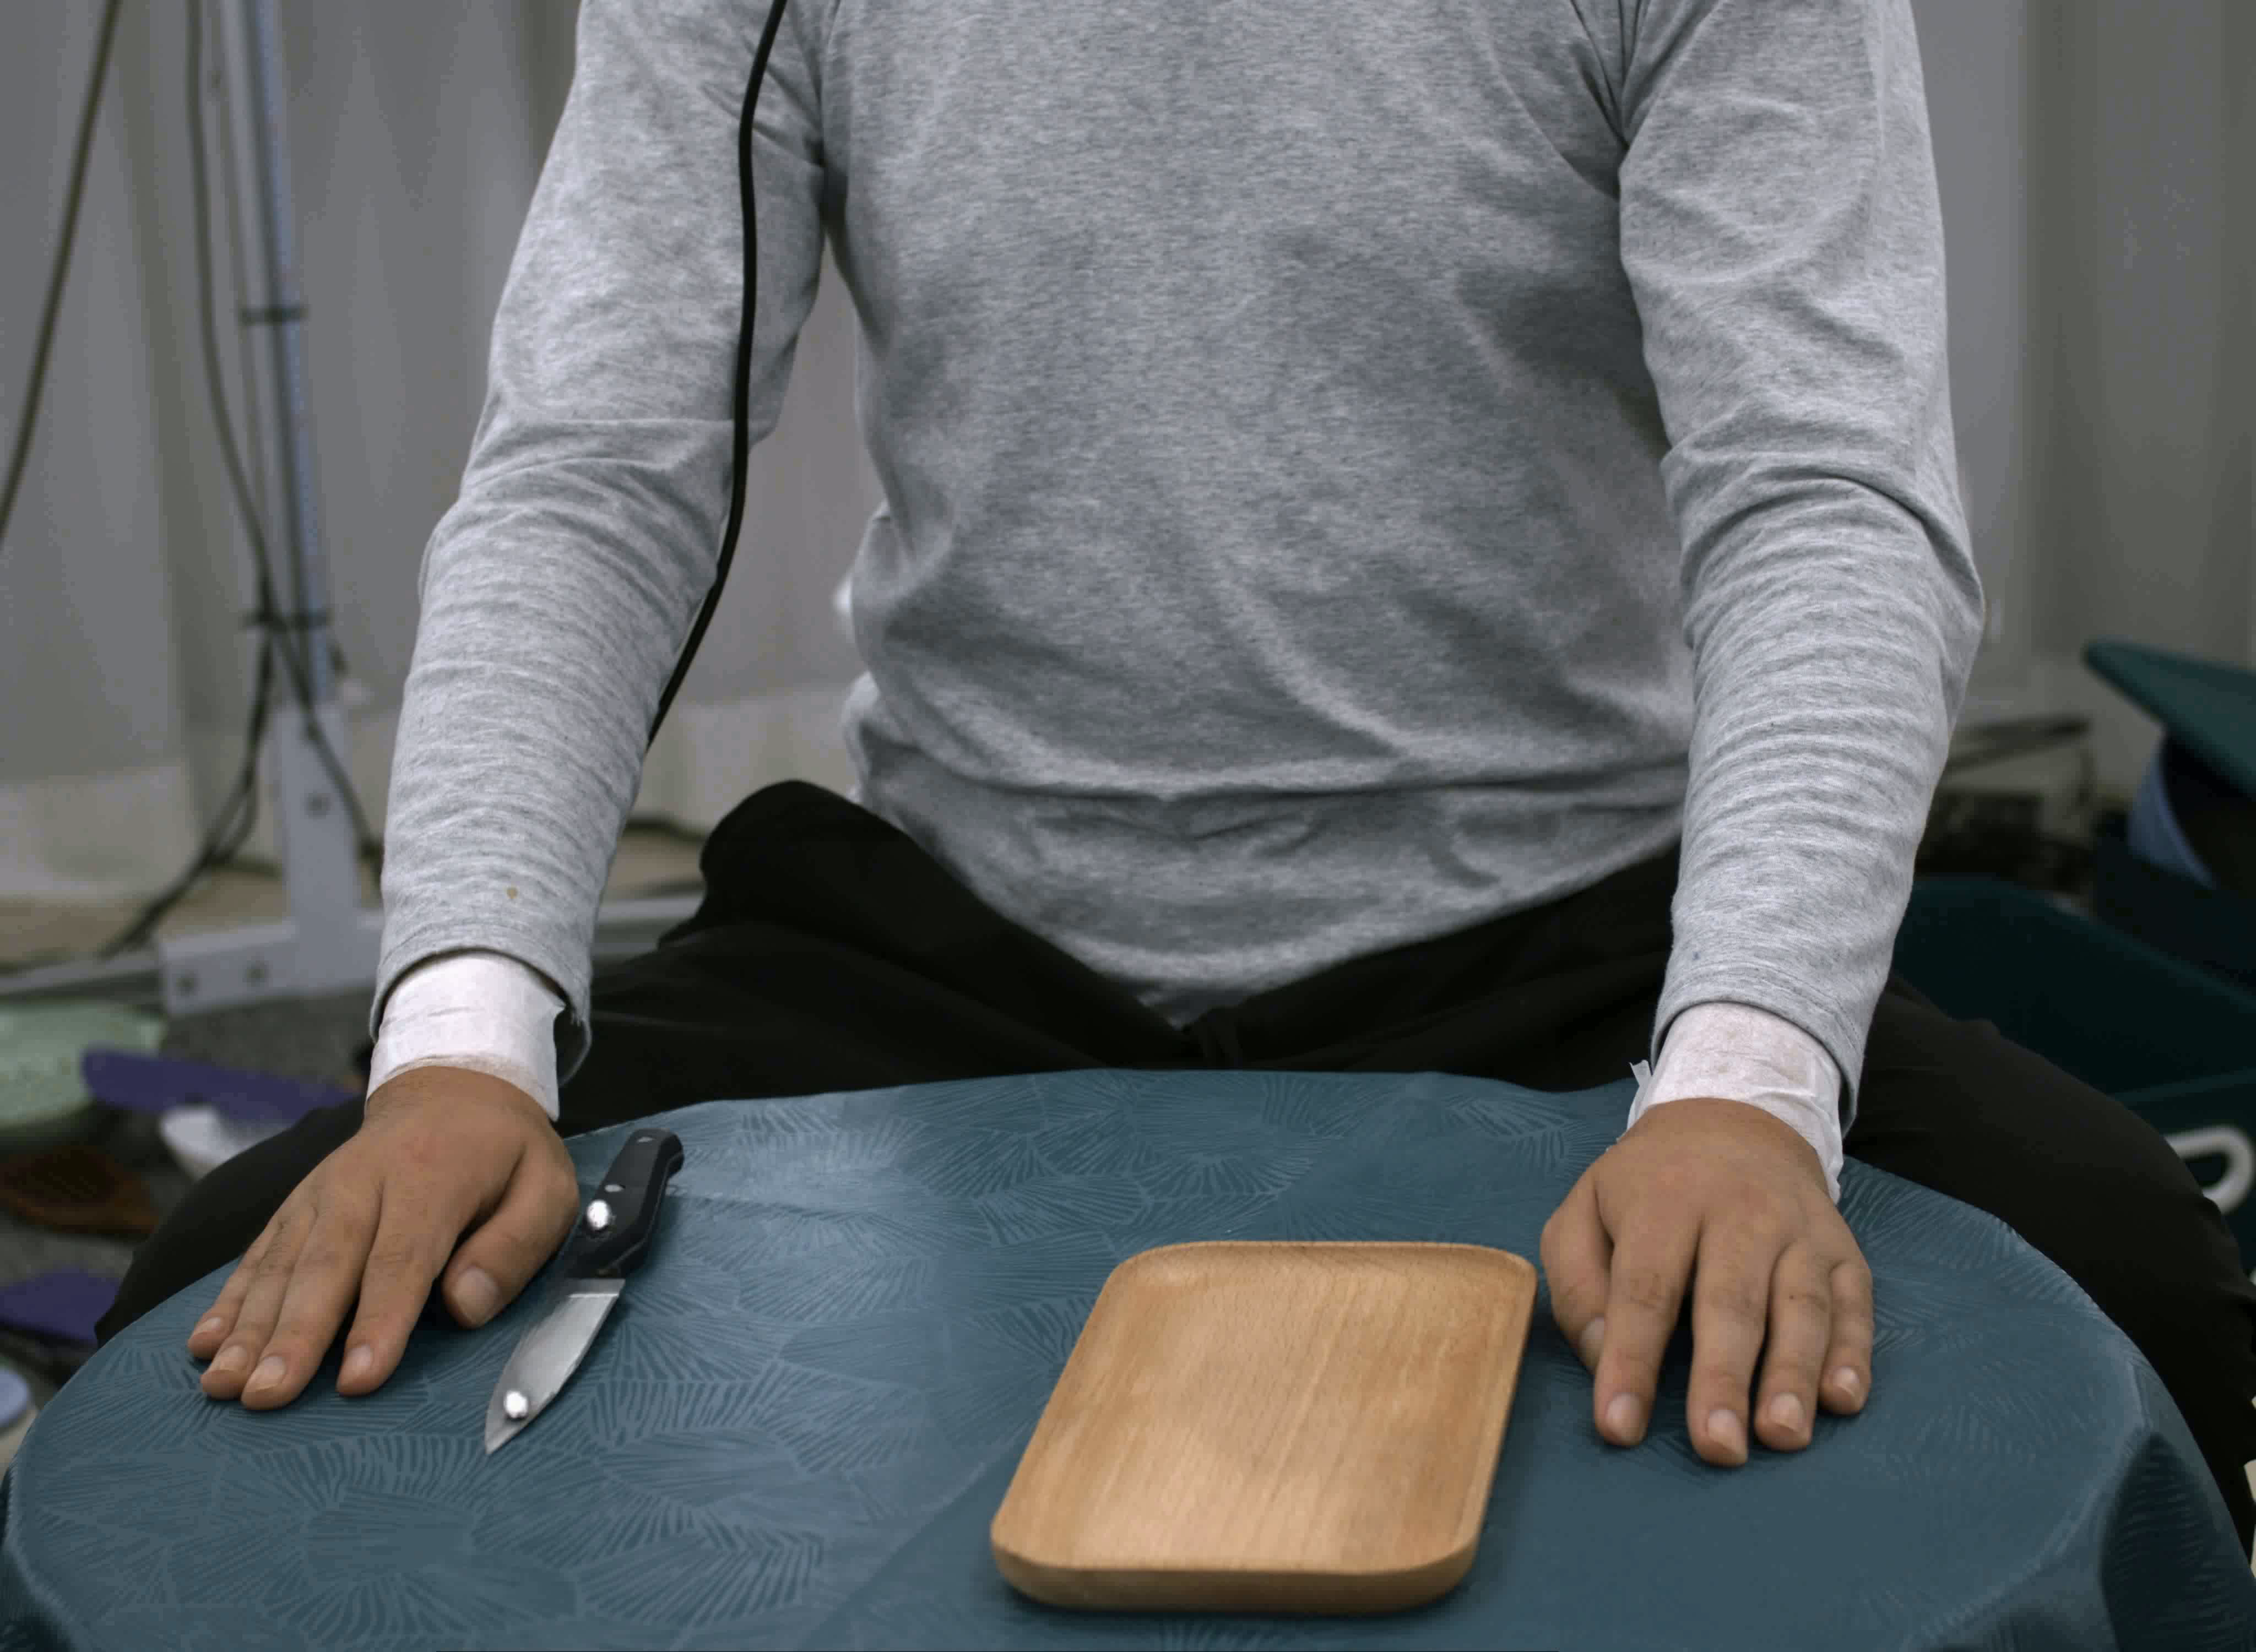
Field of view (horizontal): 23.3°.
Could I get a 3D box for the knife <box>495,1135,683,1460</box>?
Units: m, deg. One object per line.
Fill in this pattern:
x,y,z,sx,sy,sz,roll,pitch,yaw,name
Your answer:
-0.164,0.140,1.633,0.024,0.016,0.240,-1,17,7,knife

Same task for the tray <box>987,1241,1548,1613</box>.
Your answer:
0.043,0.162,1.500,0.130,0.023,0.252,3,14,10,tray
